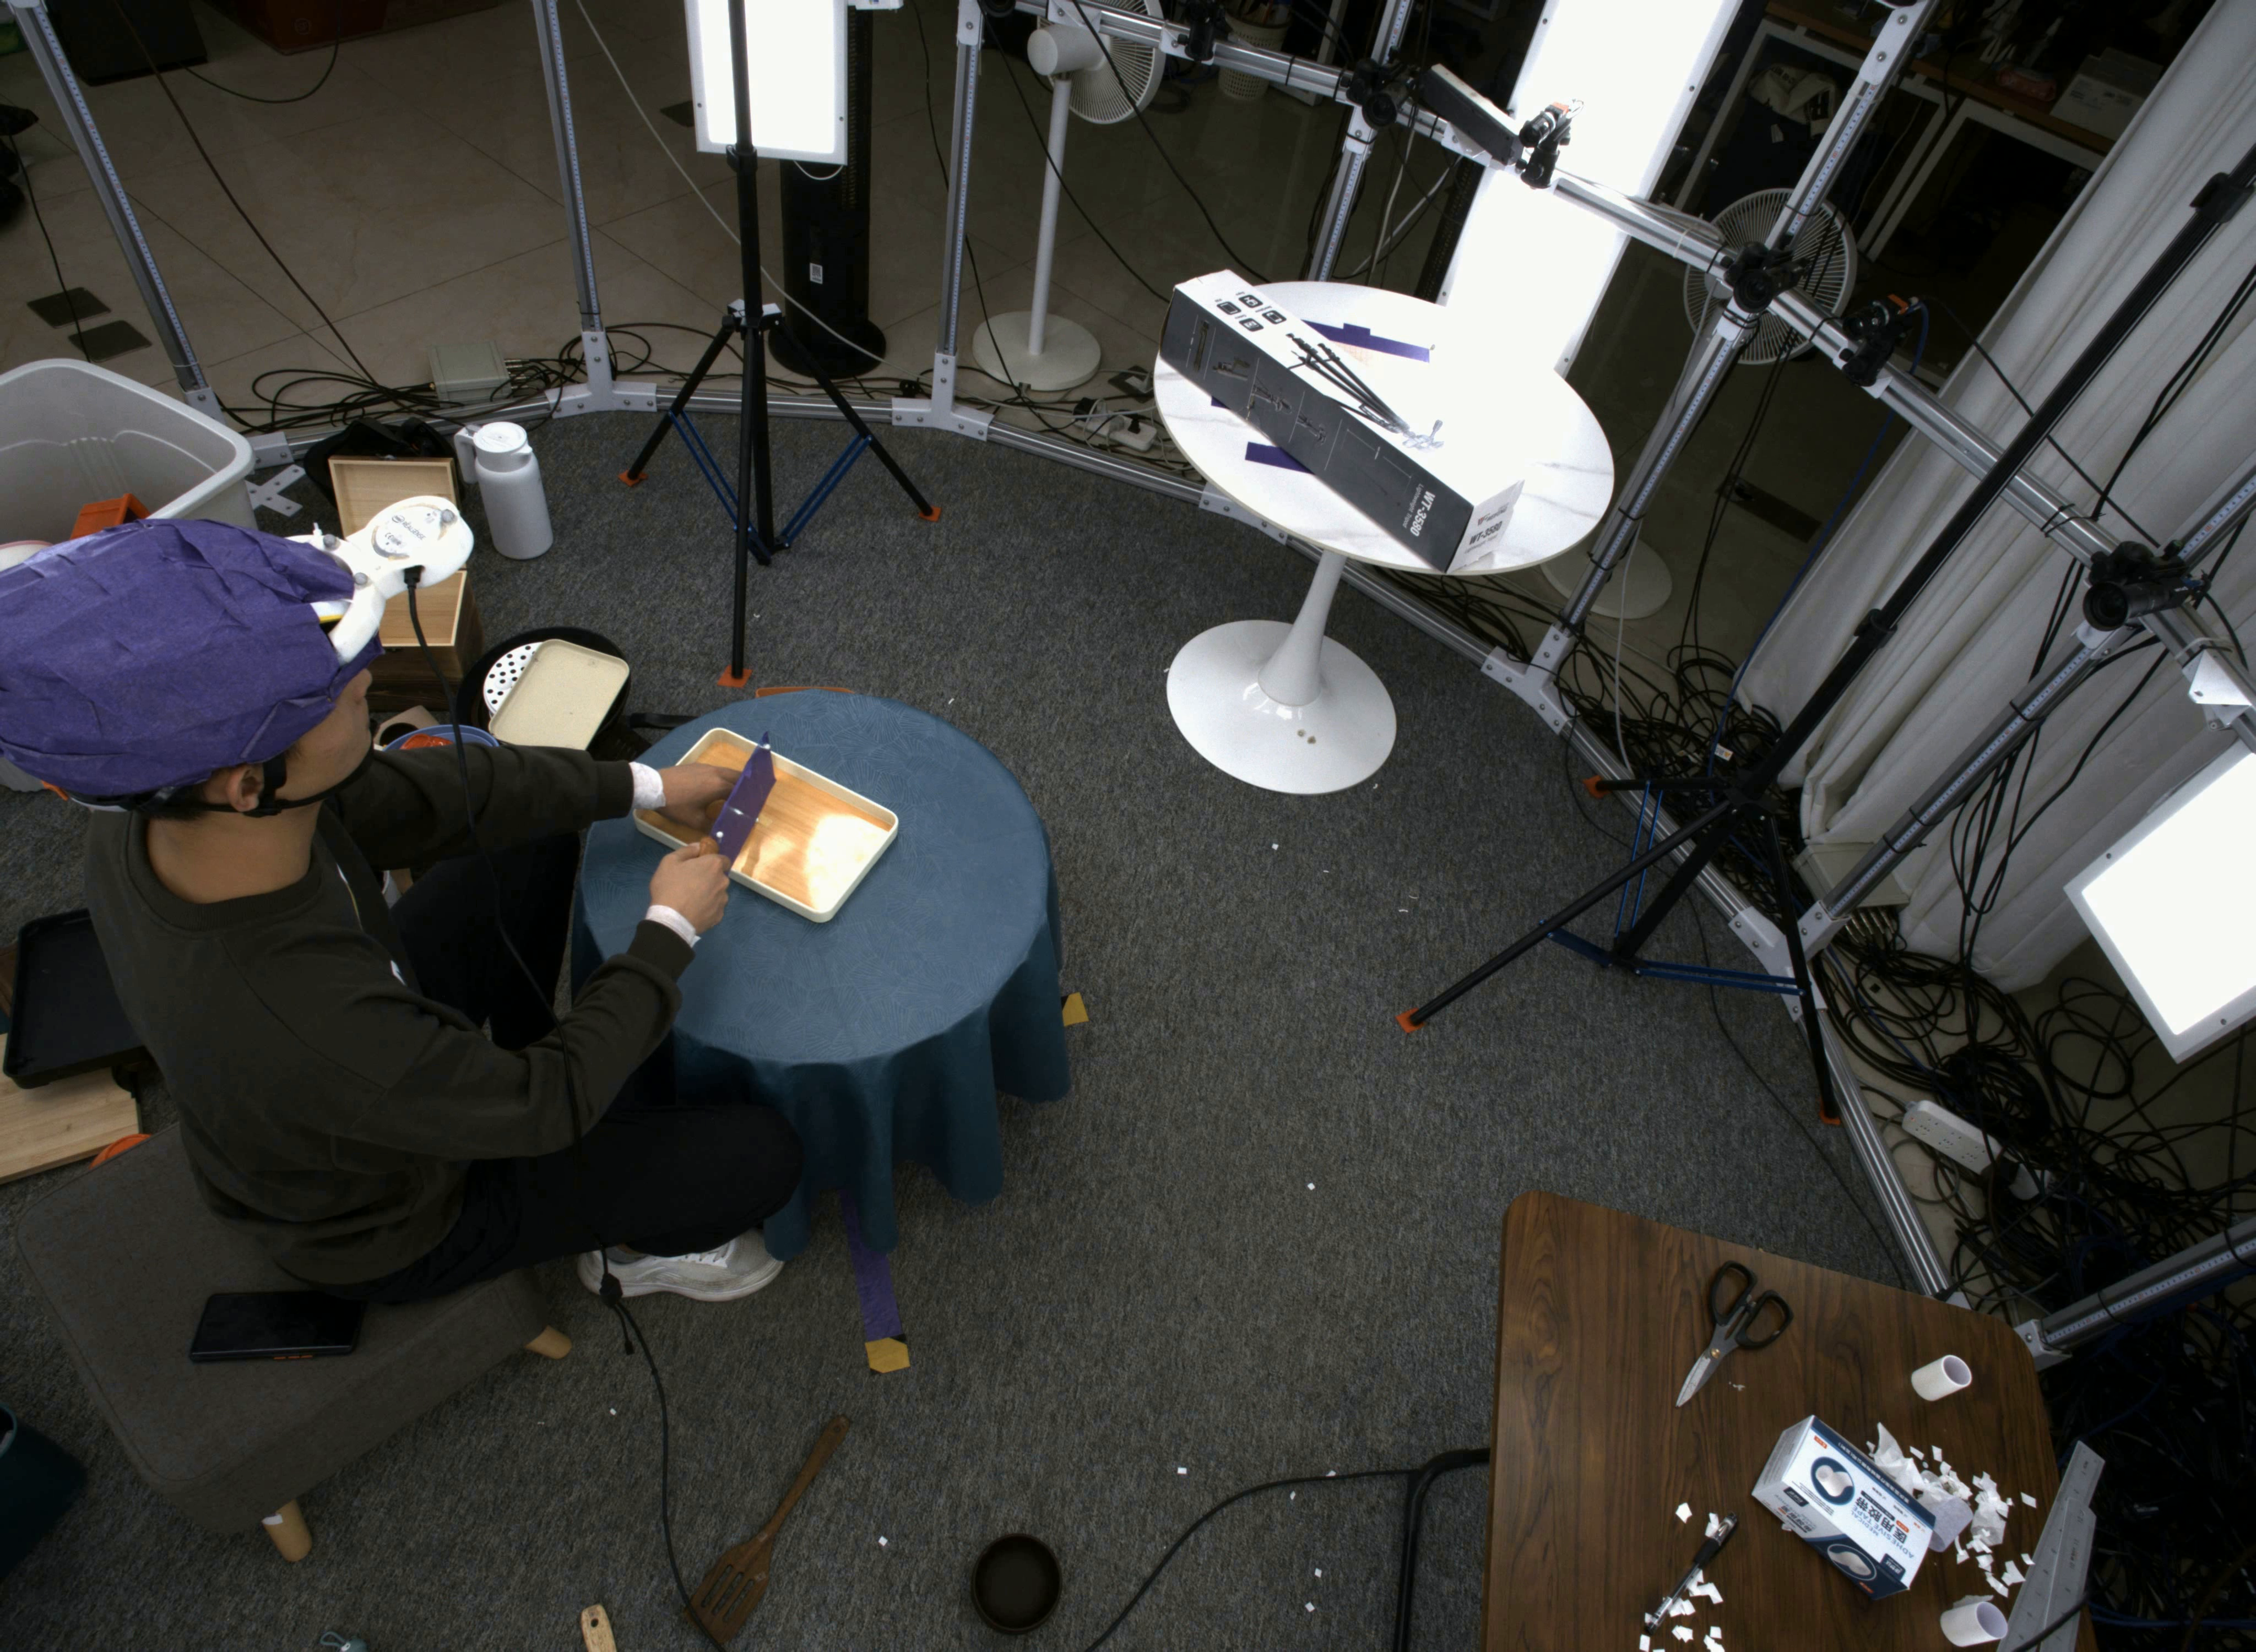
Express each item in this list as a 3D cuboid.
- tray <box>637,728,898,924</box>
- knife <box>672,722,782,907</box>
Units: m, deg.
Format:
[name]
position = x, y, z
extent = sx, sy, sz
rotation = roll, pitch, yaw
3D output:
[tray]
position = -0.474, -0.005, 1.709
extent = 0.296, 0.028, 0.190
rotation = 26, 52, 6
[knife]
position = -0.490, 0.003, 1.615
extent = 0.031, 0.107, 0.310
rotation = 6, 42, 6
